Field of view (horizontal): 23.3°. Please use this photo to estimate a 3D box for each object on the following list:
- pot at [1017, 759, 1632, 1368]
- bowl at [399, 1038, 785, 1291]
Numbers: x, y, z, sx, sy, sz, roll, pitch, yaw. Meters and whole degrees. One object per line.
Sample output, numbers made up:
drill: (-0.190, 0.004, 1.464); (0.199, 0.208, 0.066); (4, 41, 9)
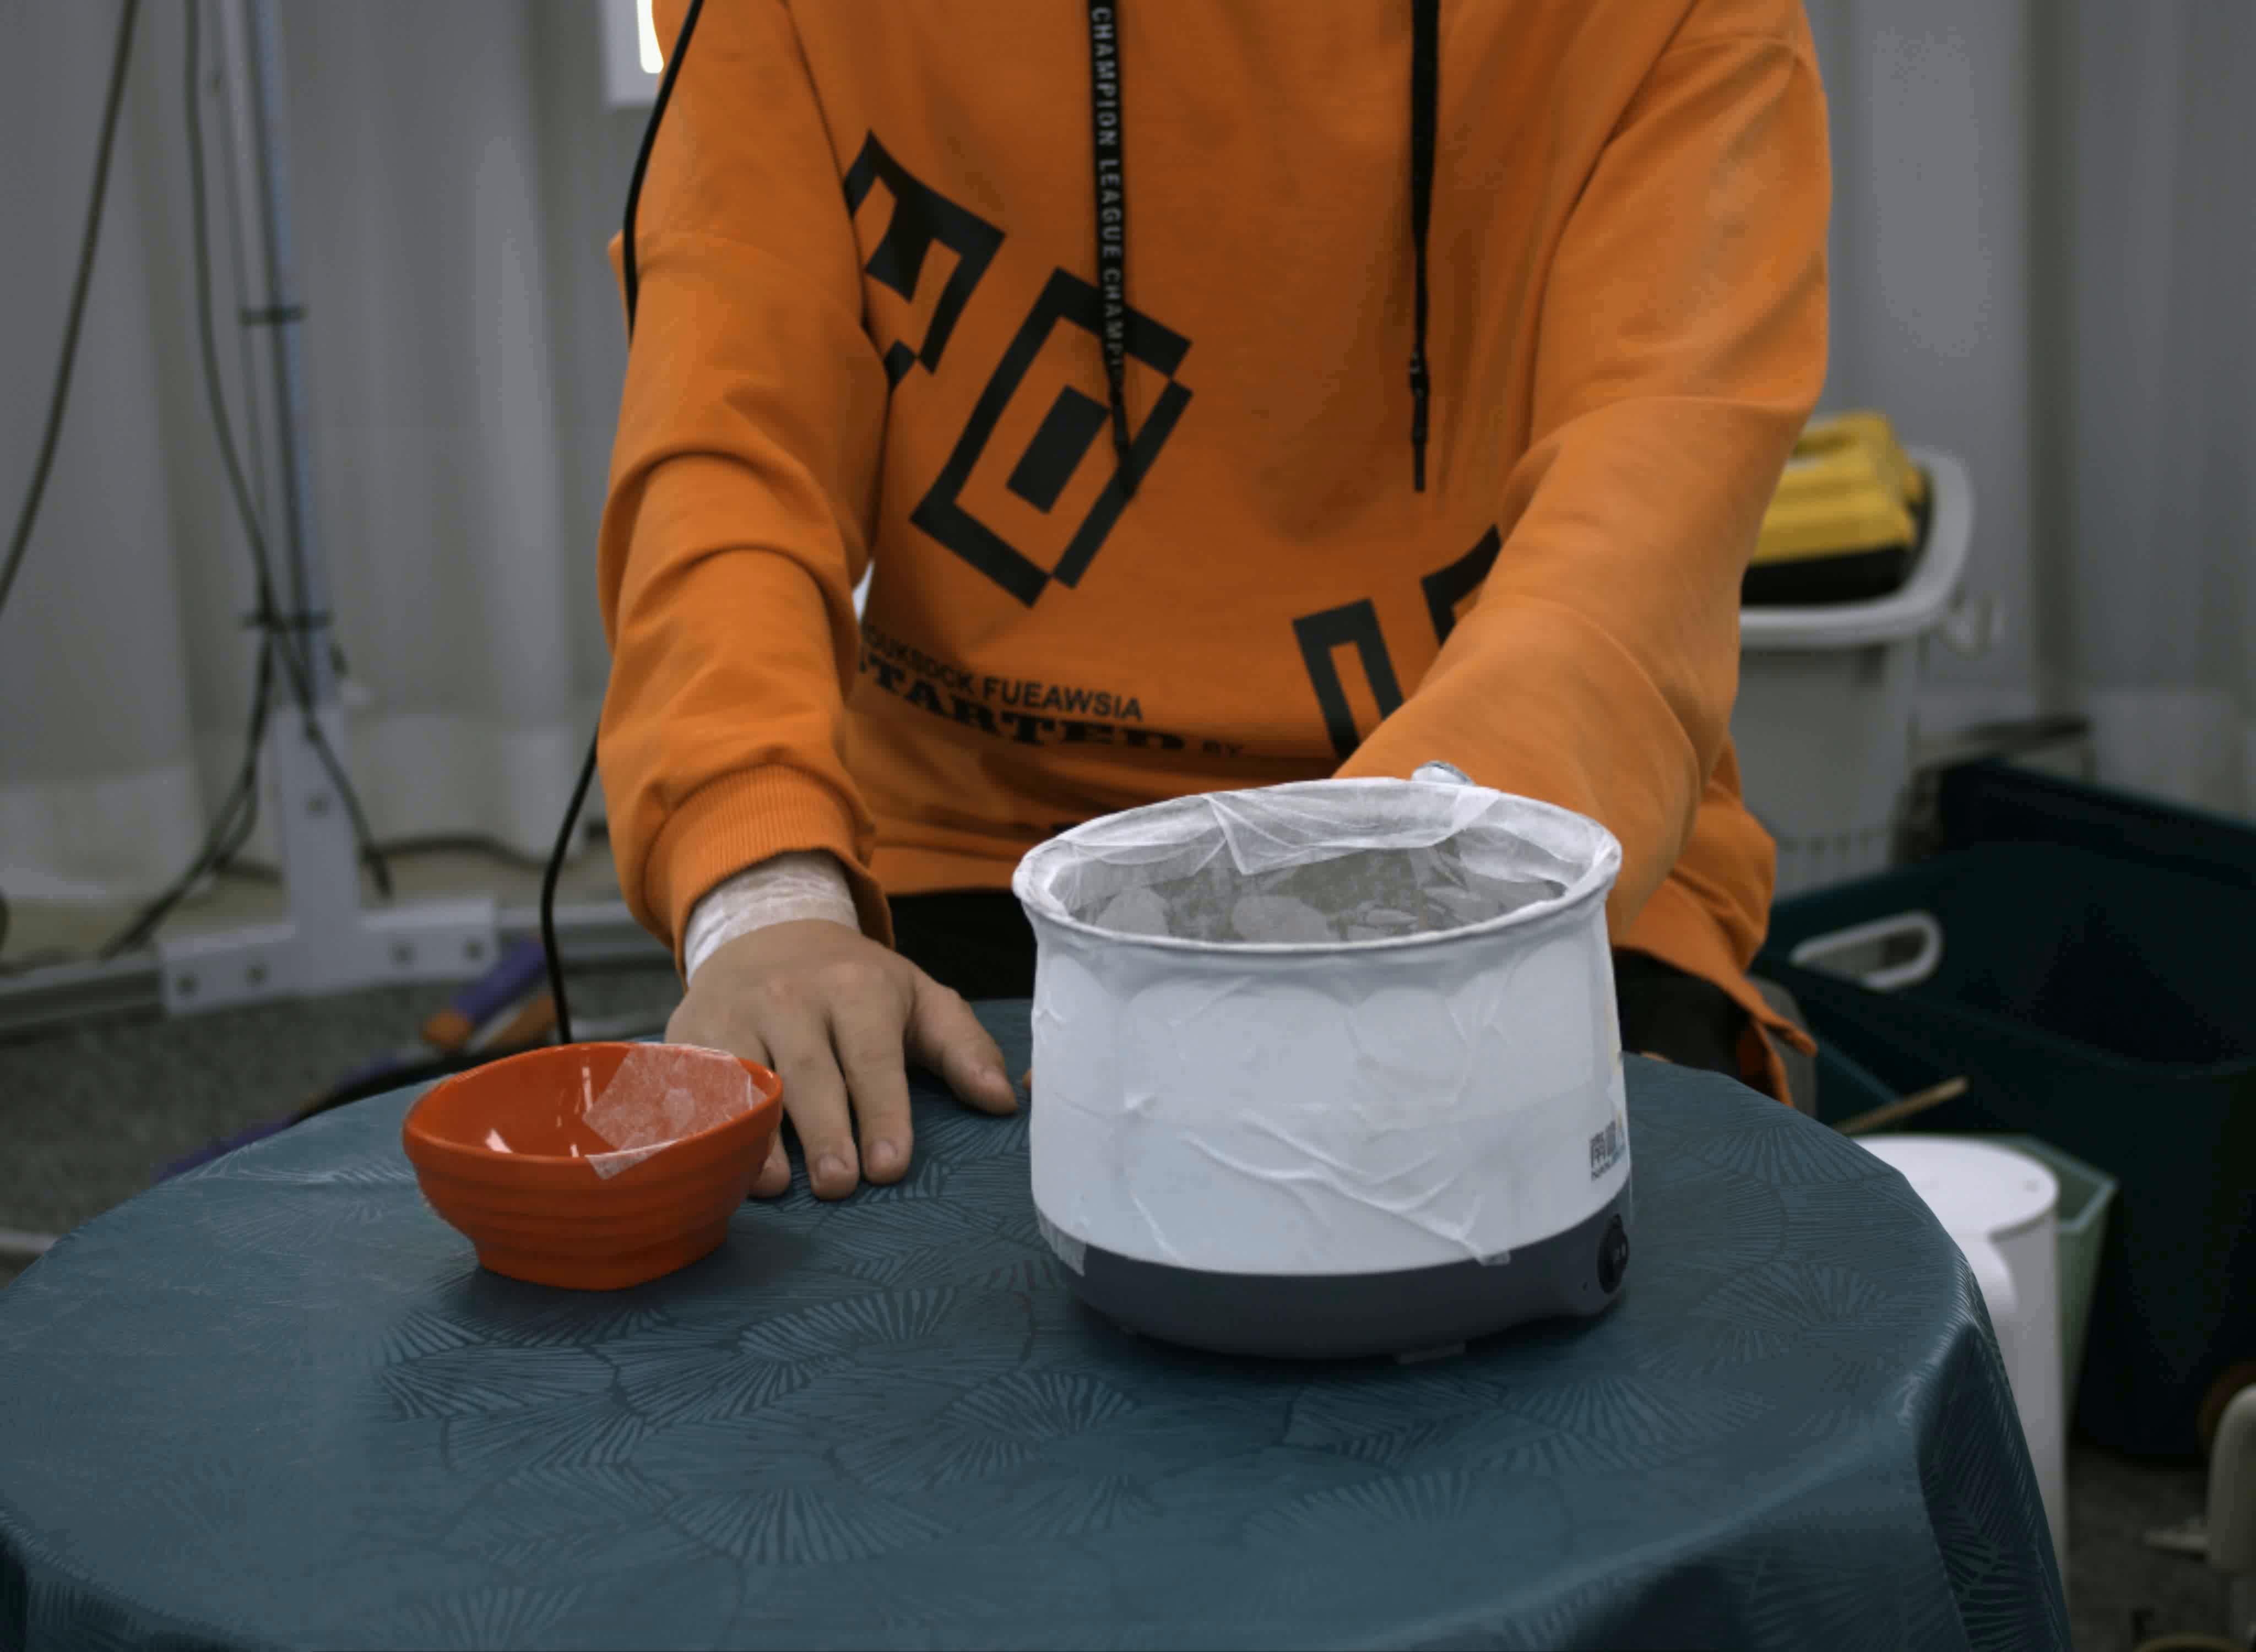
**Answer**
pot: (0.069, 0.064, 1.627); (0.179, 0.136, 0.234); (3, 16, 22)
bowl: (-0.162, 0.106, 1.680); (0.118, 0.051, 0.120); (-4, 15, 1)
